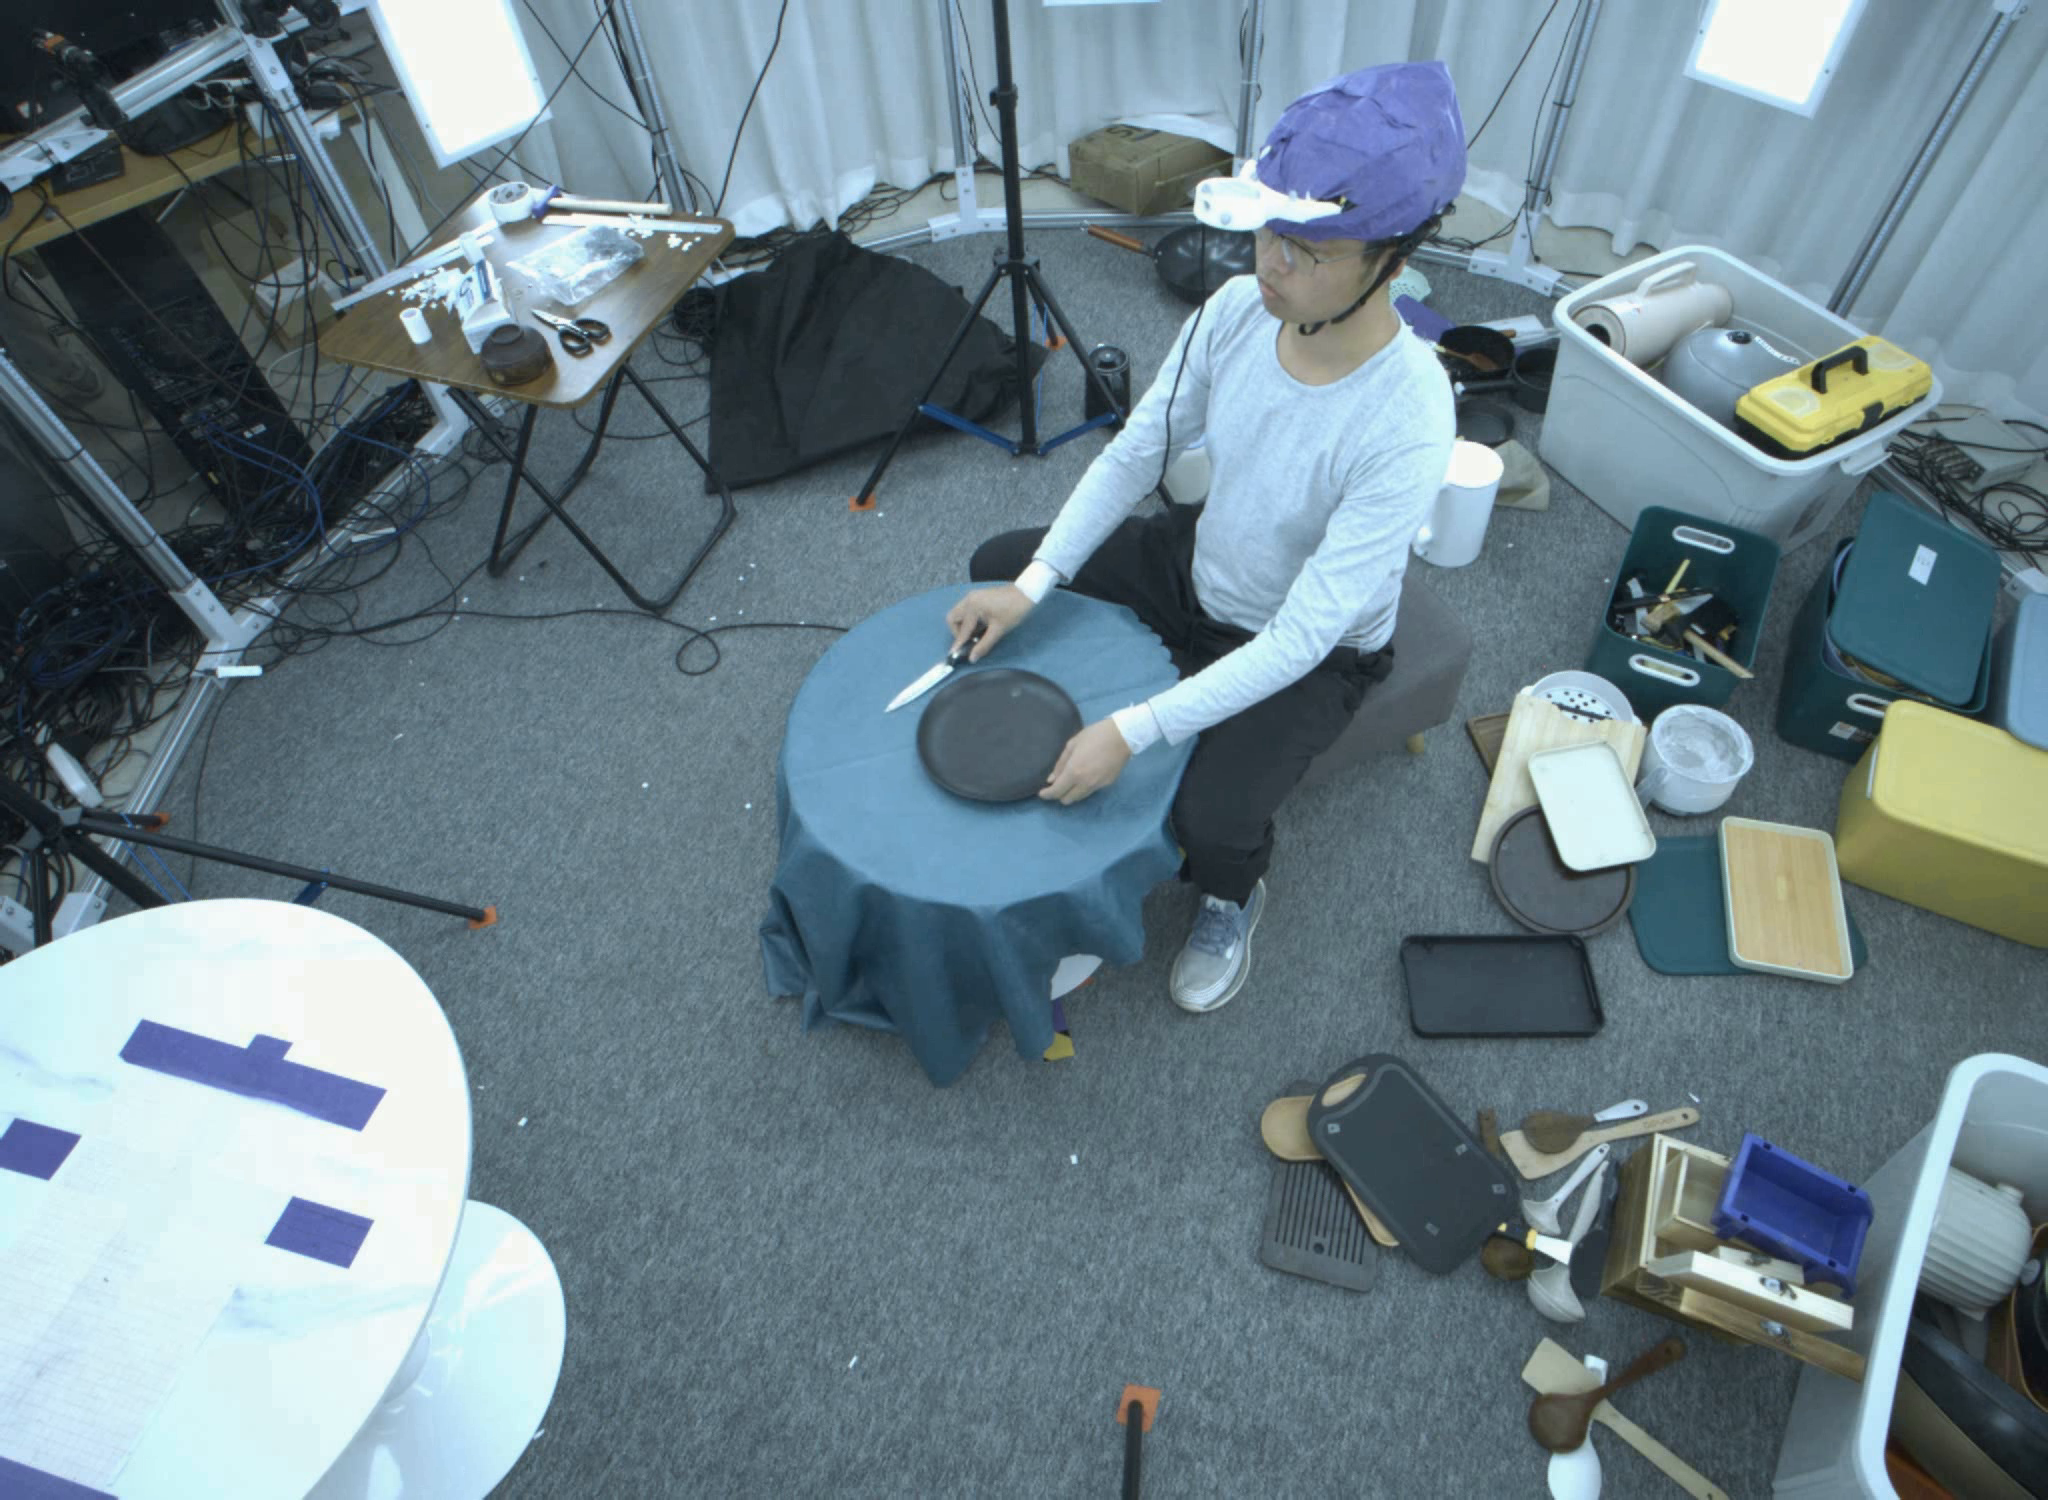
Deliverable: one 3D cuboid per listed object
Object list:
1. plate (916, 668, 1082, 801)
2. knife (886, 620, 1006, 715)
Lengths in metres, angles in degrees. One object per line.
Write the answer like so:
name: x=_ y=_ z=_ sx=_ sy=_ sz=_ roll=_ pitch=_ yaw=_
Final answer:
plate: x=-0.036 y=-0.022 z=1.798 sx=0.244 sy=0.023 sz=0.242 roll=0 pitch=54 yaw=1
knife: x=-0.122 y=-0.127 z=1.876 sx=0.239 sy=0.016 sz=0.024 roll=-40 pitch=69 yaw=-18
